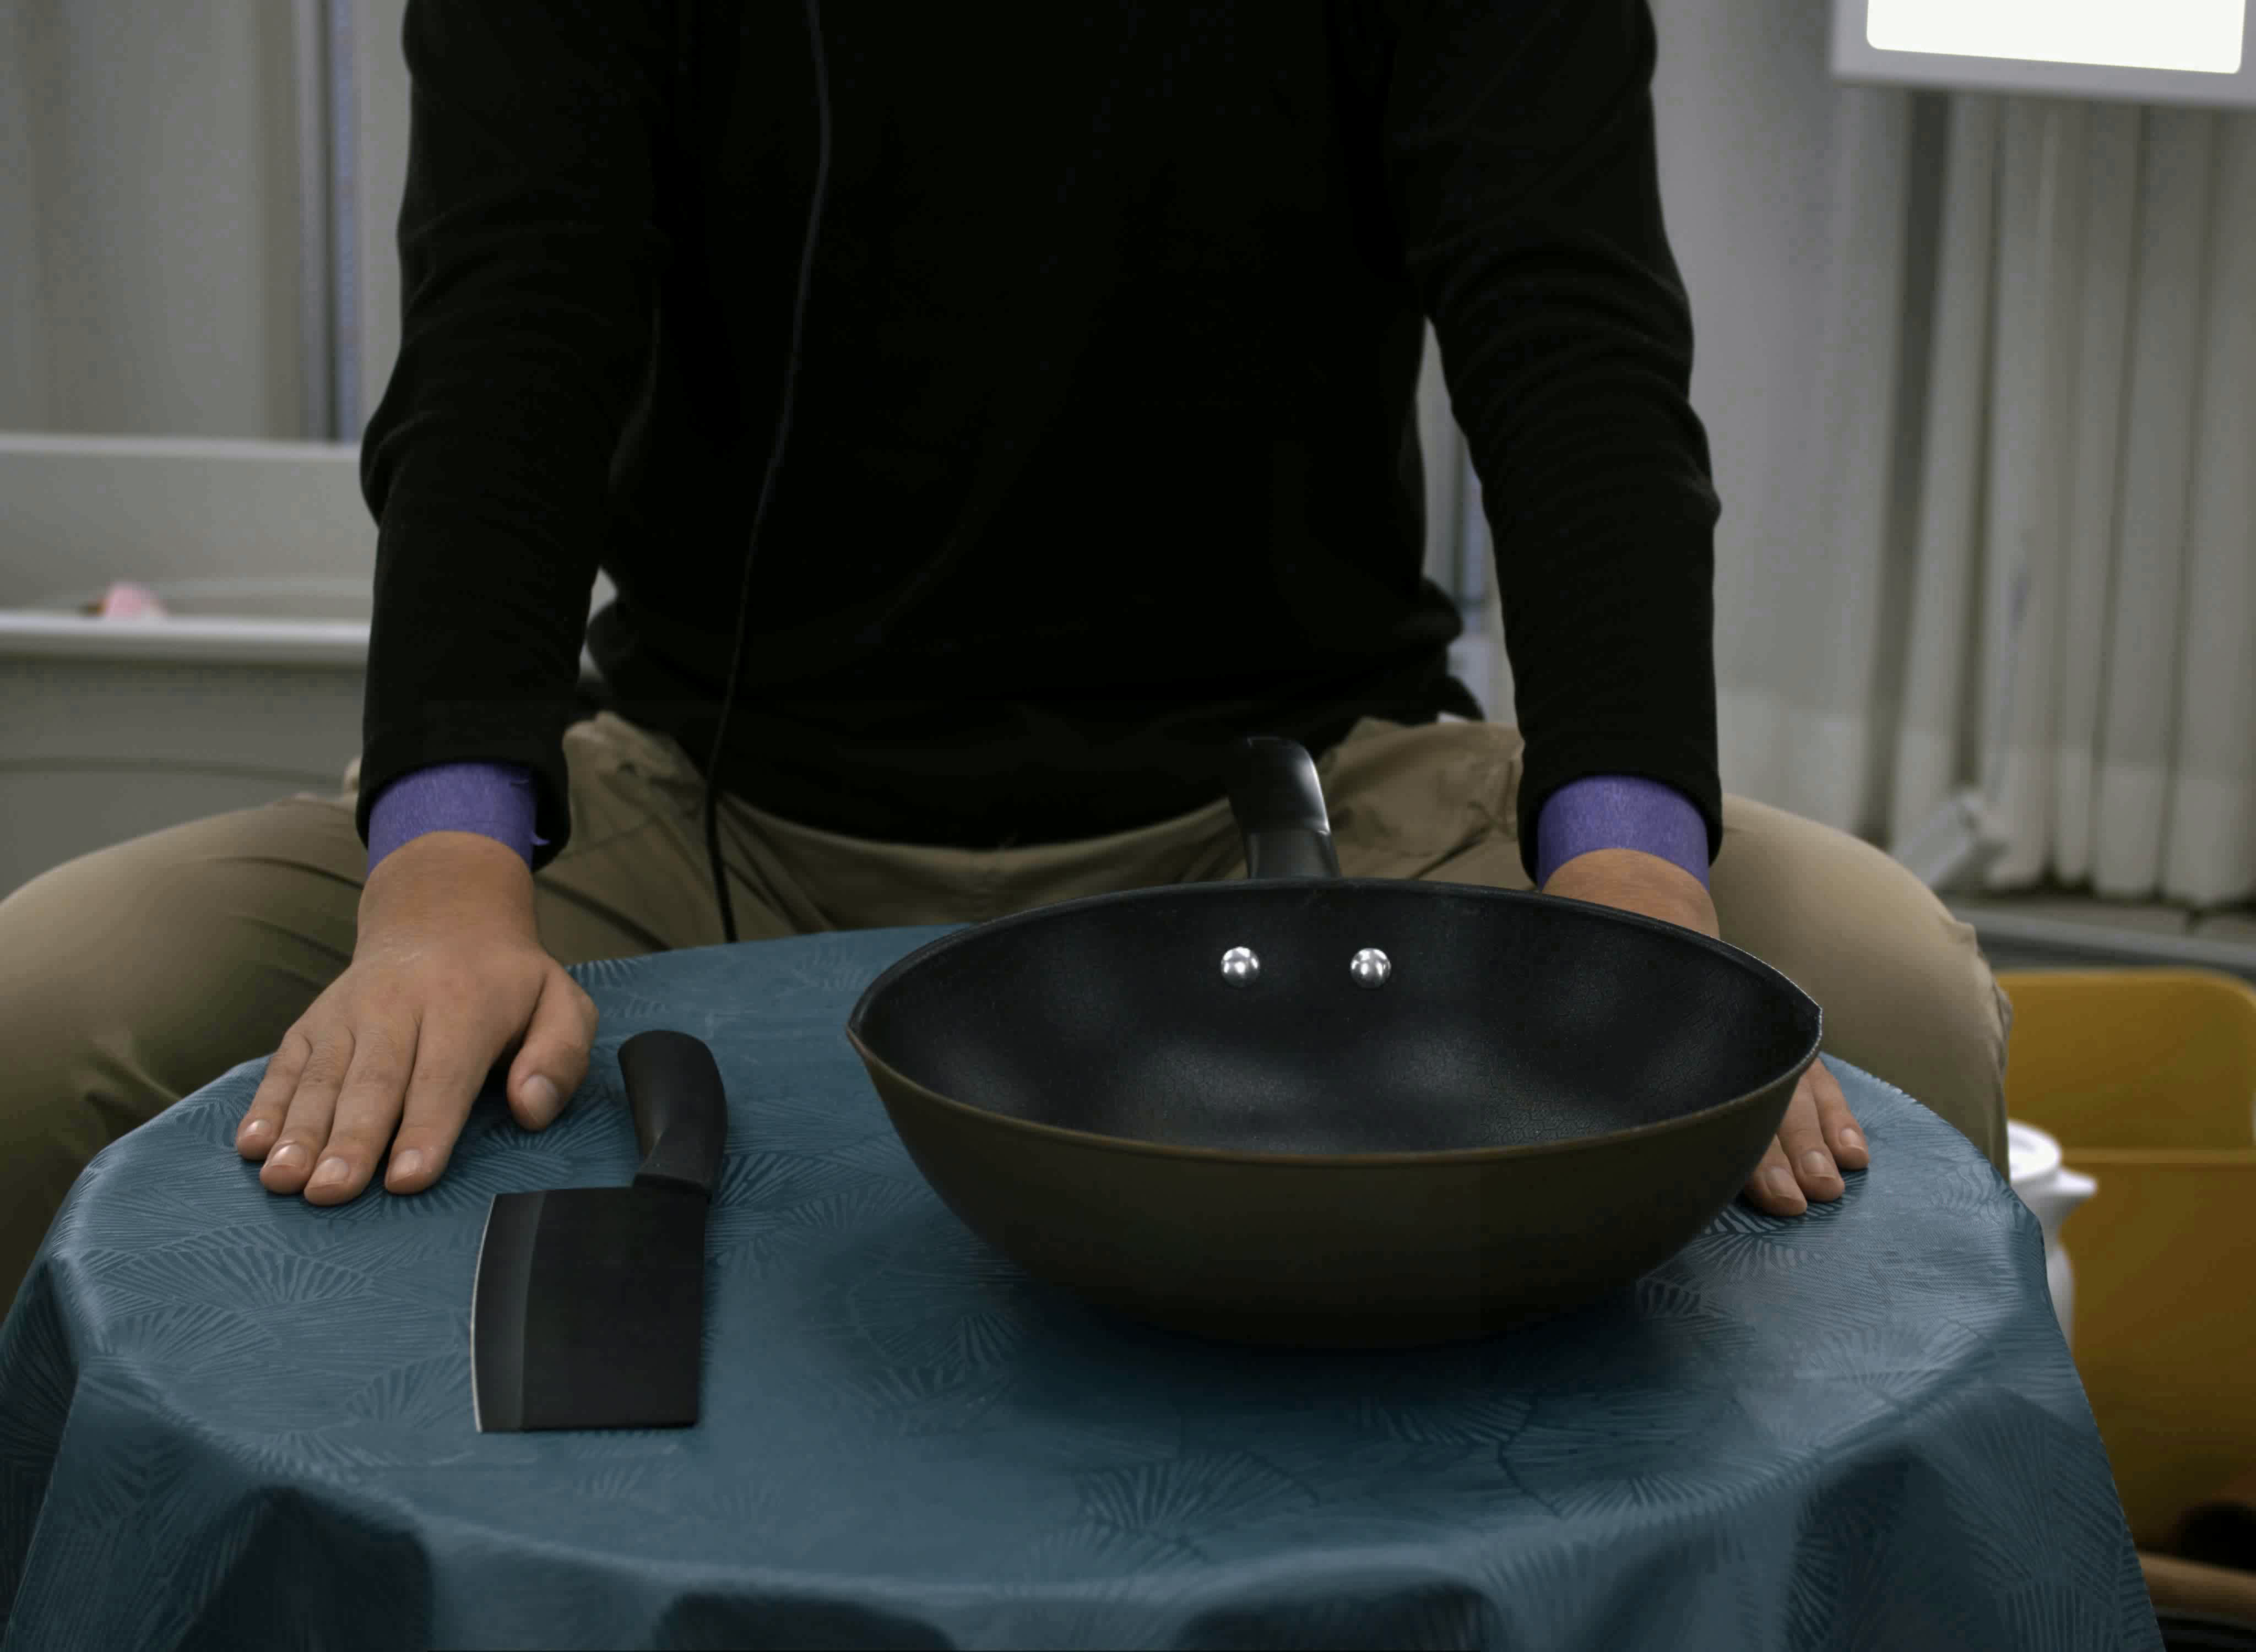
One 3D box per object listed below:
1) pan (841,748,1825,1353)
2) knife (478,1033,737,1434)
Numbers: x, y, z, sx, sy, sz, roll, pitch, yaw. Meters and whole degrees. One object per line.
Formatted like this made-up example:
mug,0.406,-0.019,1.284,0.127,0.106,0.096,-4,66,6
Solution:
pan,0.057,0.067,1.634,0.287,0.087,0.460,0,15,-2
knife,-0.152,0.119,1.568,0.080,0.021,0.300,0,17,1
